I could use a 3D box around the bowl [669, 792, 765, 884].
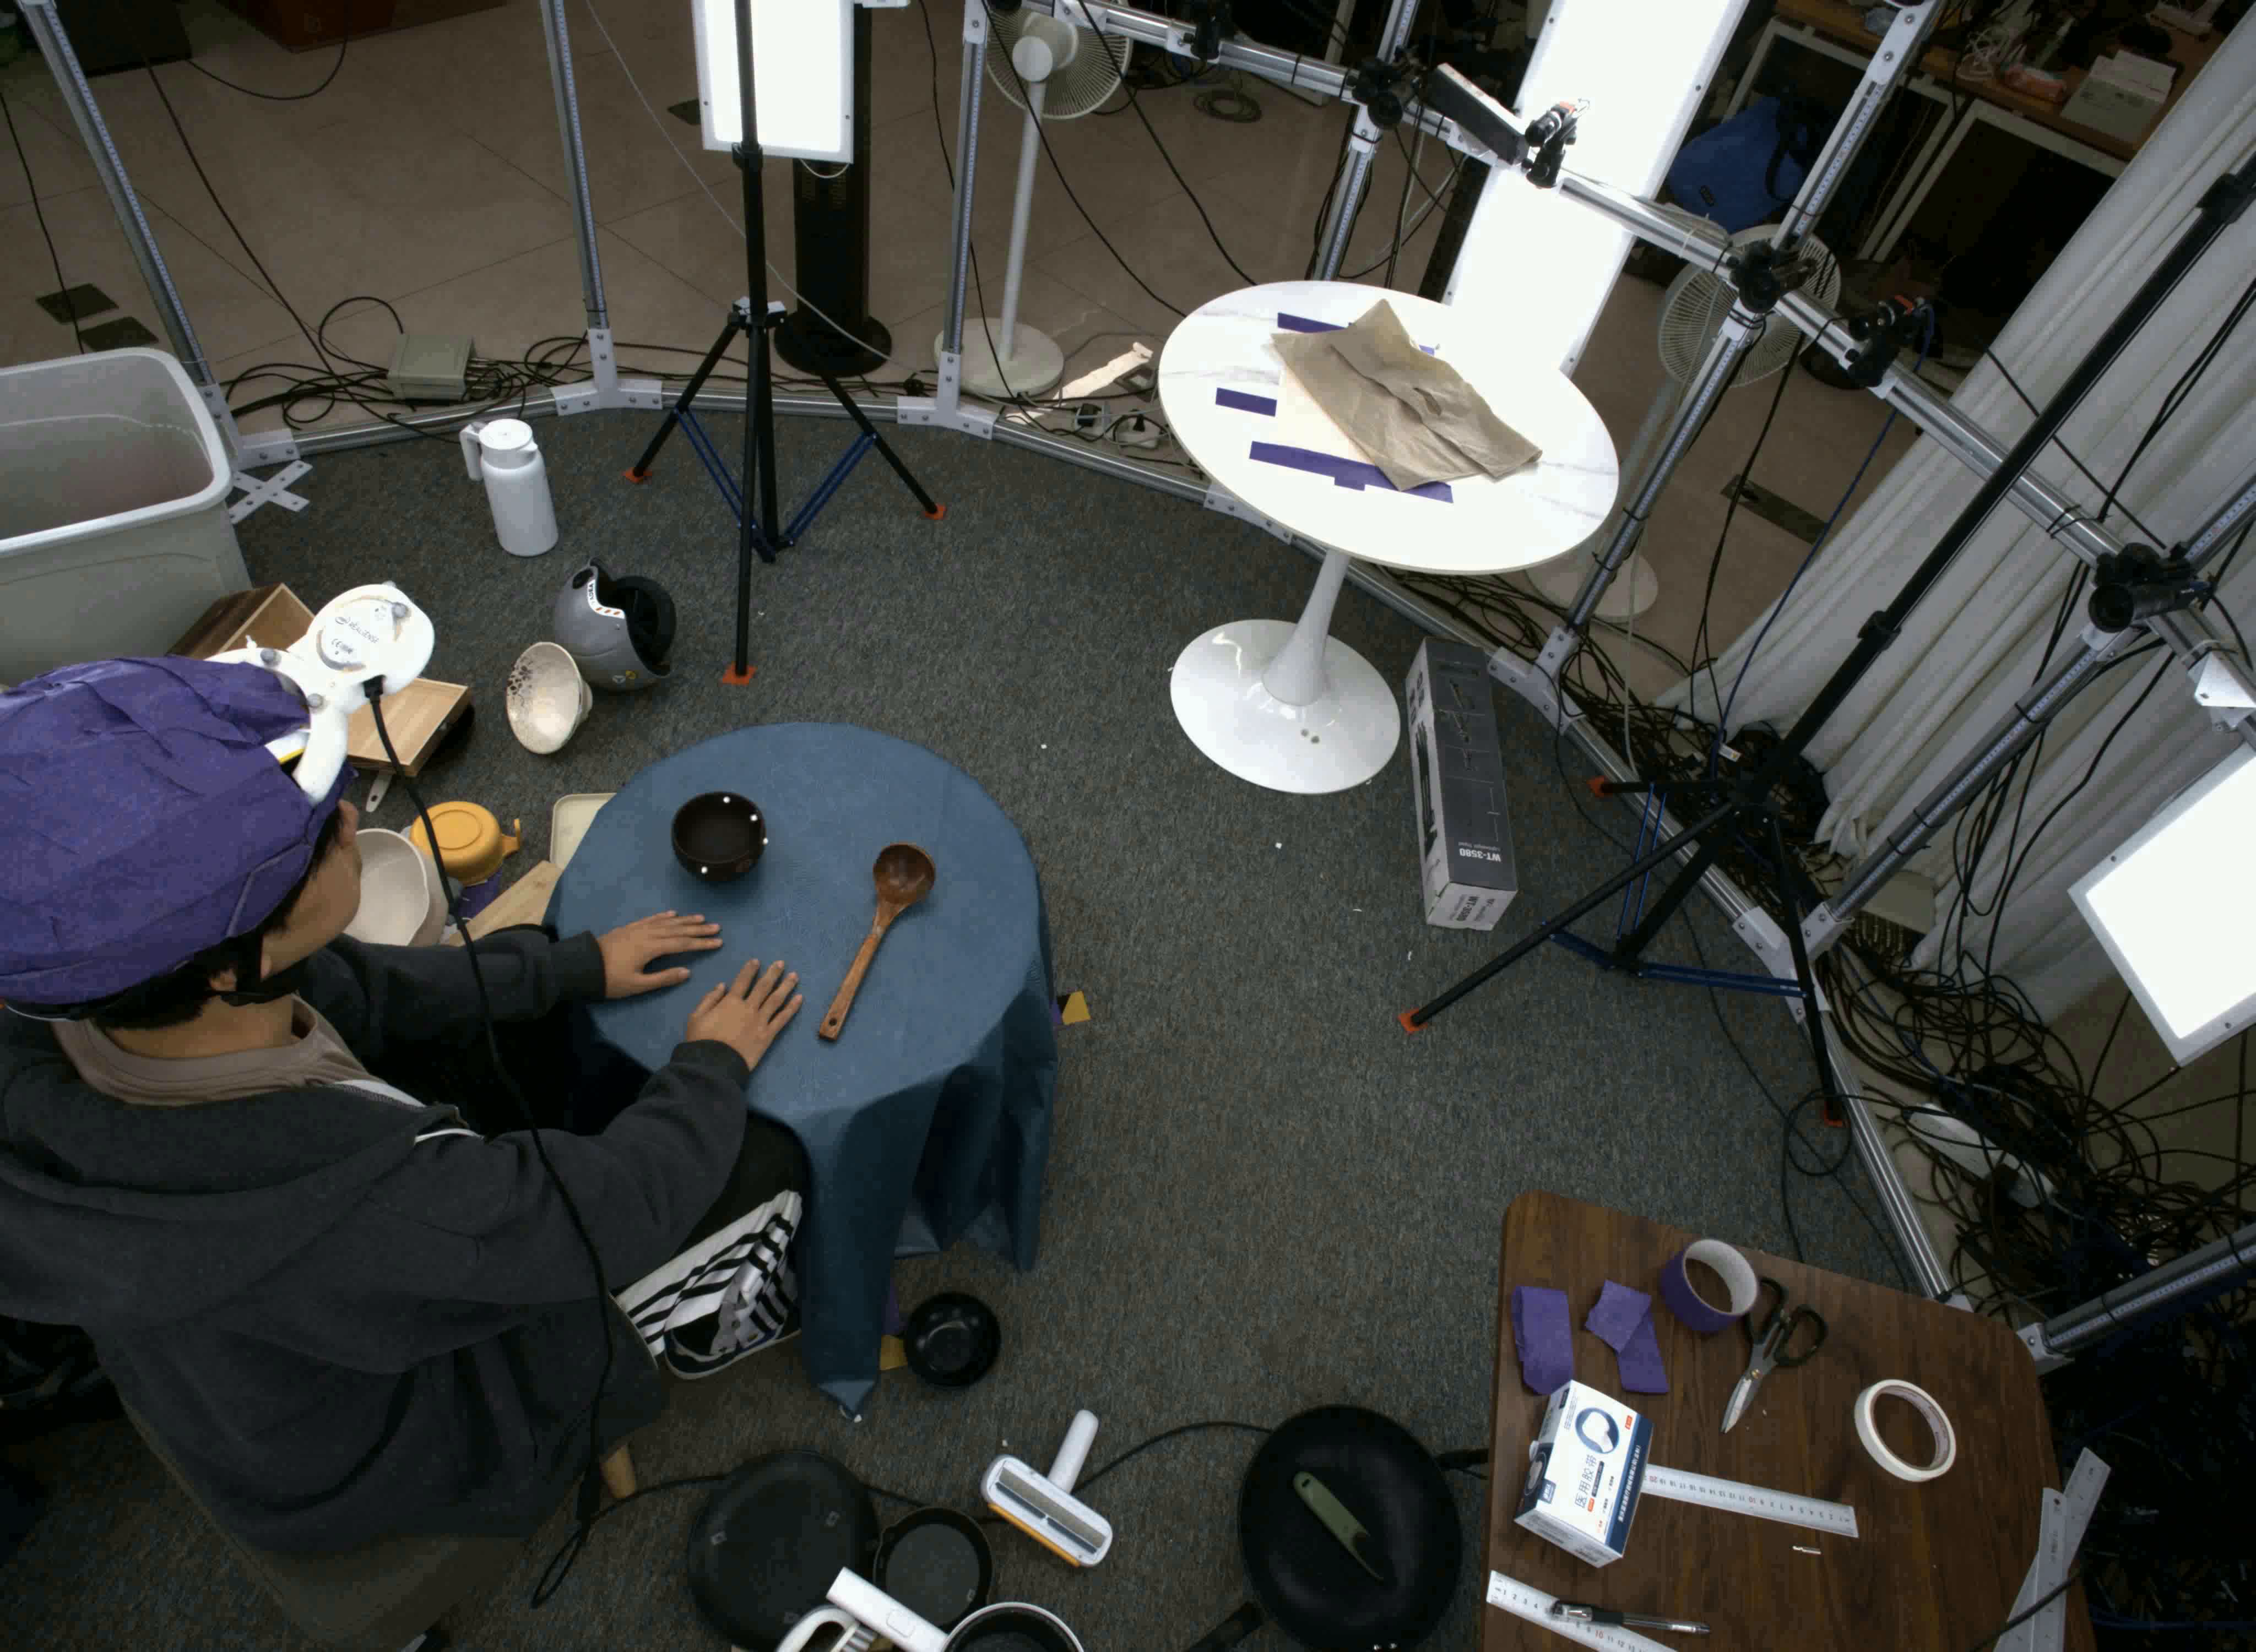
[{"bbox_3d":[-0.520,0.022,1.640,0.118,0.071,0.116,8,52,-8],"label":"bowl"}]

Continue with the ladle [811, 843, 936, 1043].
[{"bbox_3d":[-0.317,0.137,1.603,0.081,0.078,0.271,23,51,-1],"label":"ladle"}]
